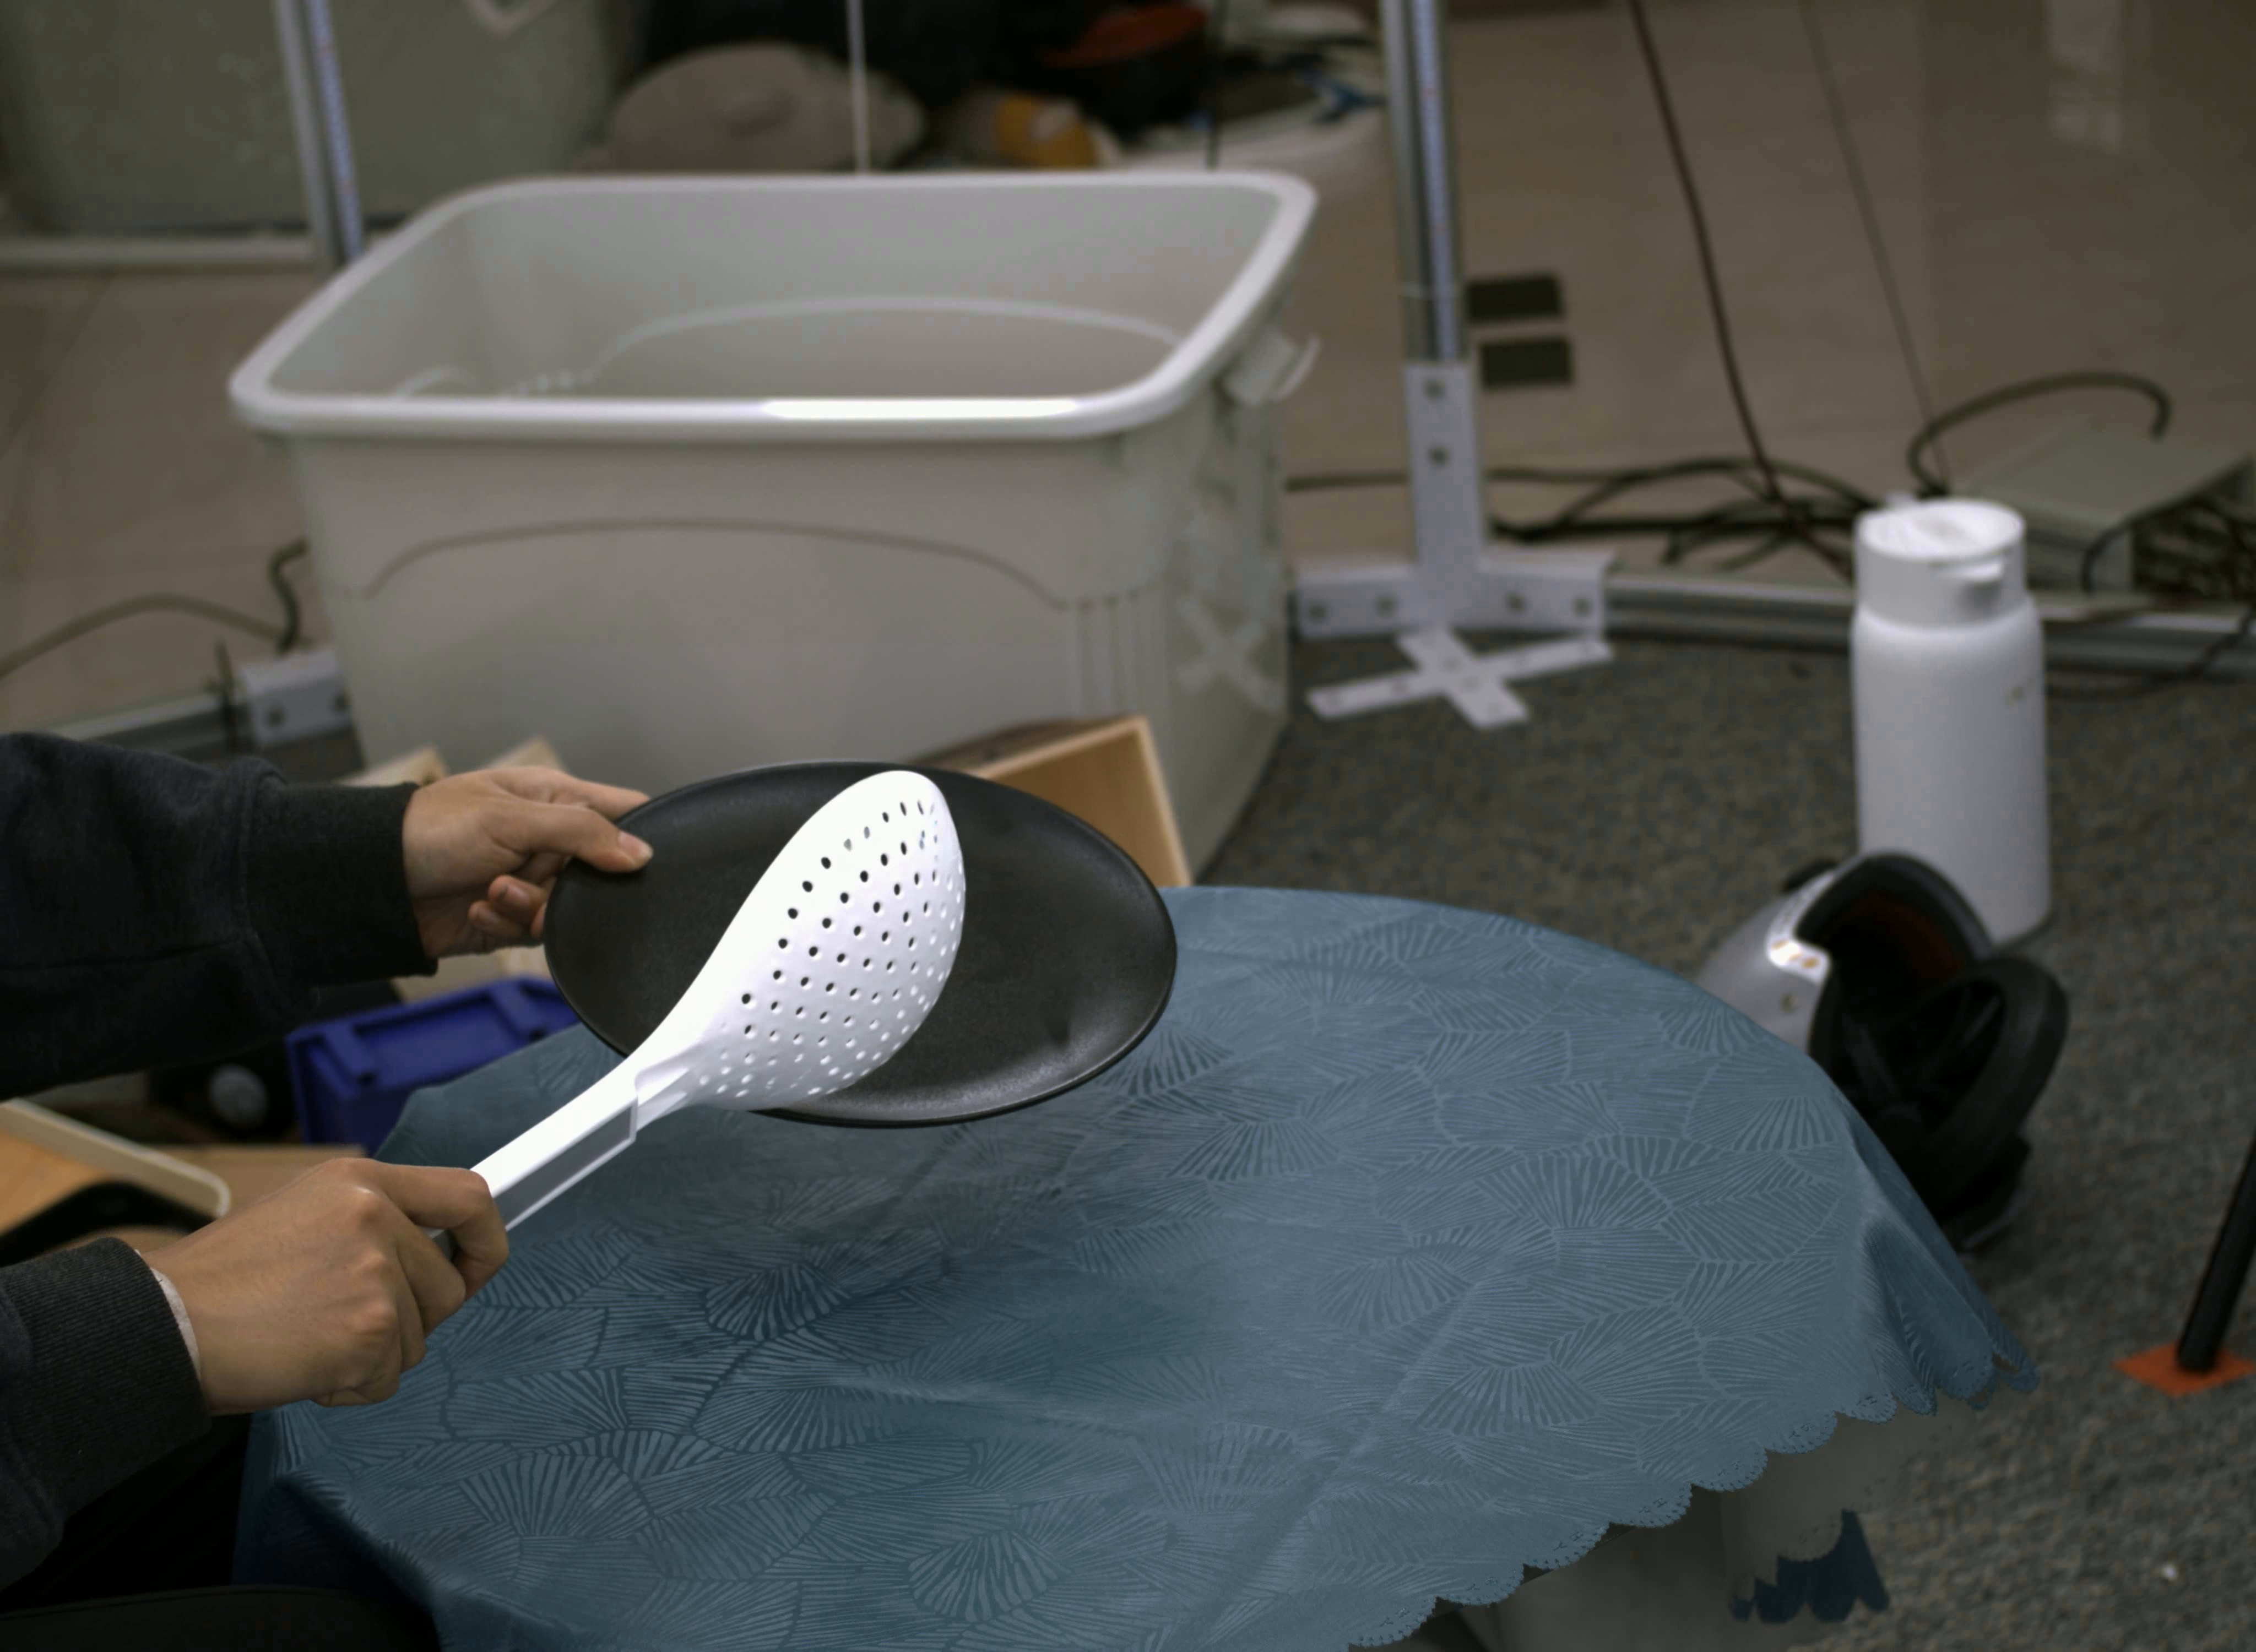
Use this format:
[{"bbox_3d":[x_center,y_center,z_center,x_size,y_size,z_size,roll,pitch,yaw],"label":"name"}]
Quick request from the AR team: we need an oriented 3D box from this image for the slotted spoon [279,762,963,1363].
[{"bbox_3d":[-0.168,0.089,1.976,0.045,0.138,0.346,32,45,31],"label":"slotted spoon"}]

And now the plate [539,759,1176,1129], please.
[{"bbox_3d":[-0.103,0.050,2.171,0.244,0.024,0.240,4,34,-3],"label":"plate"}]
